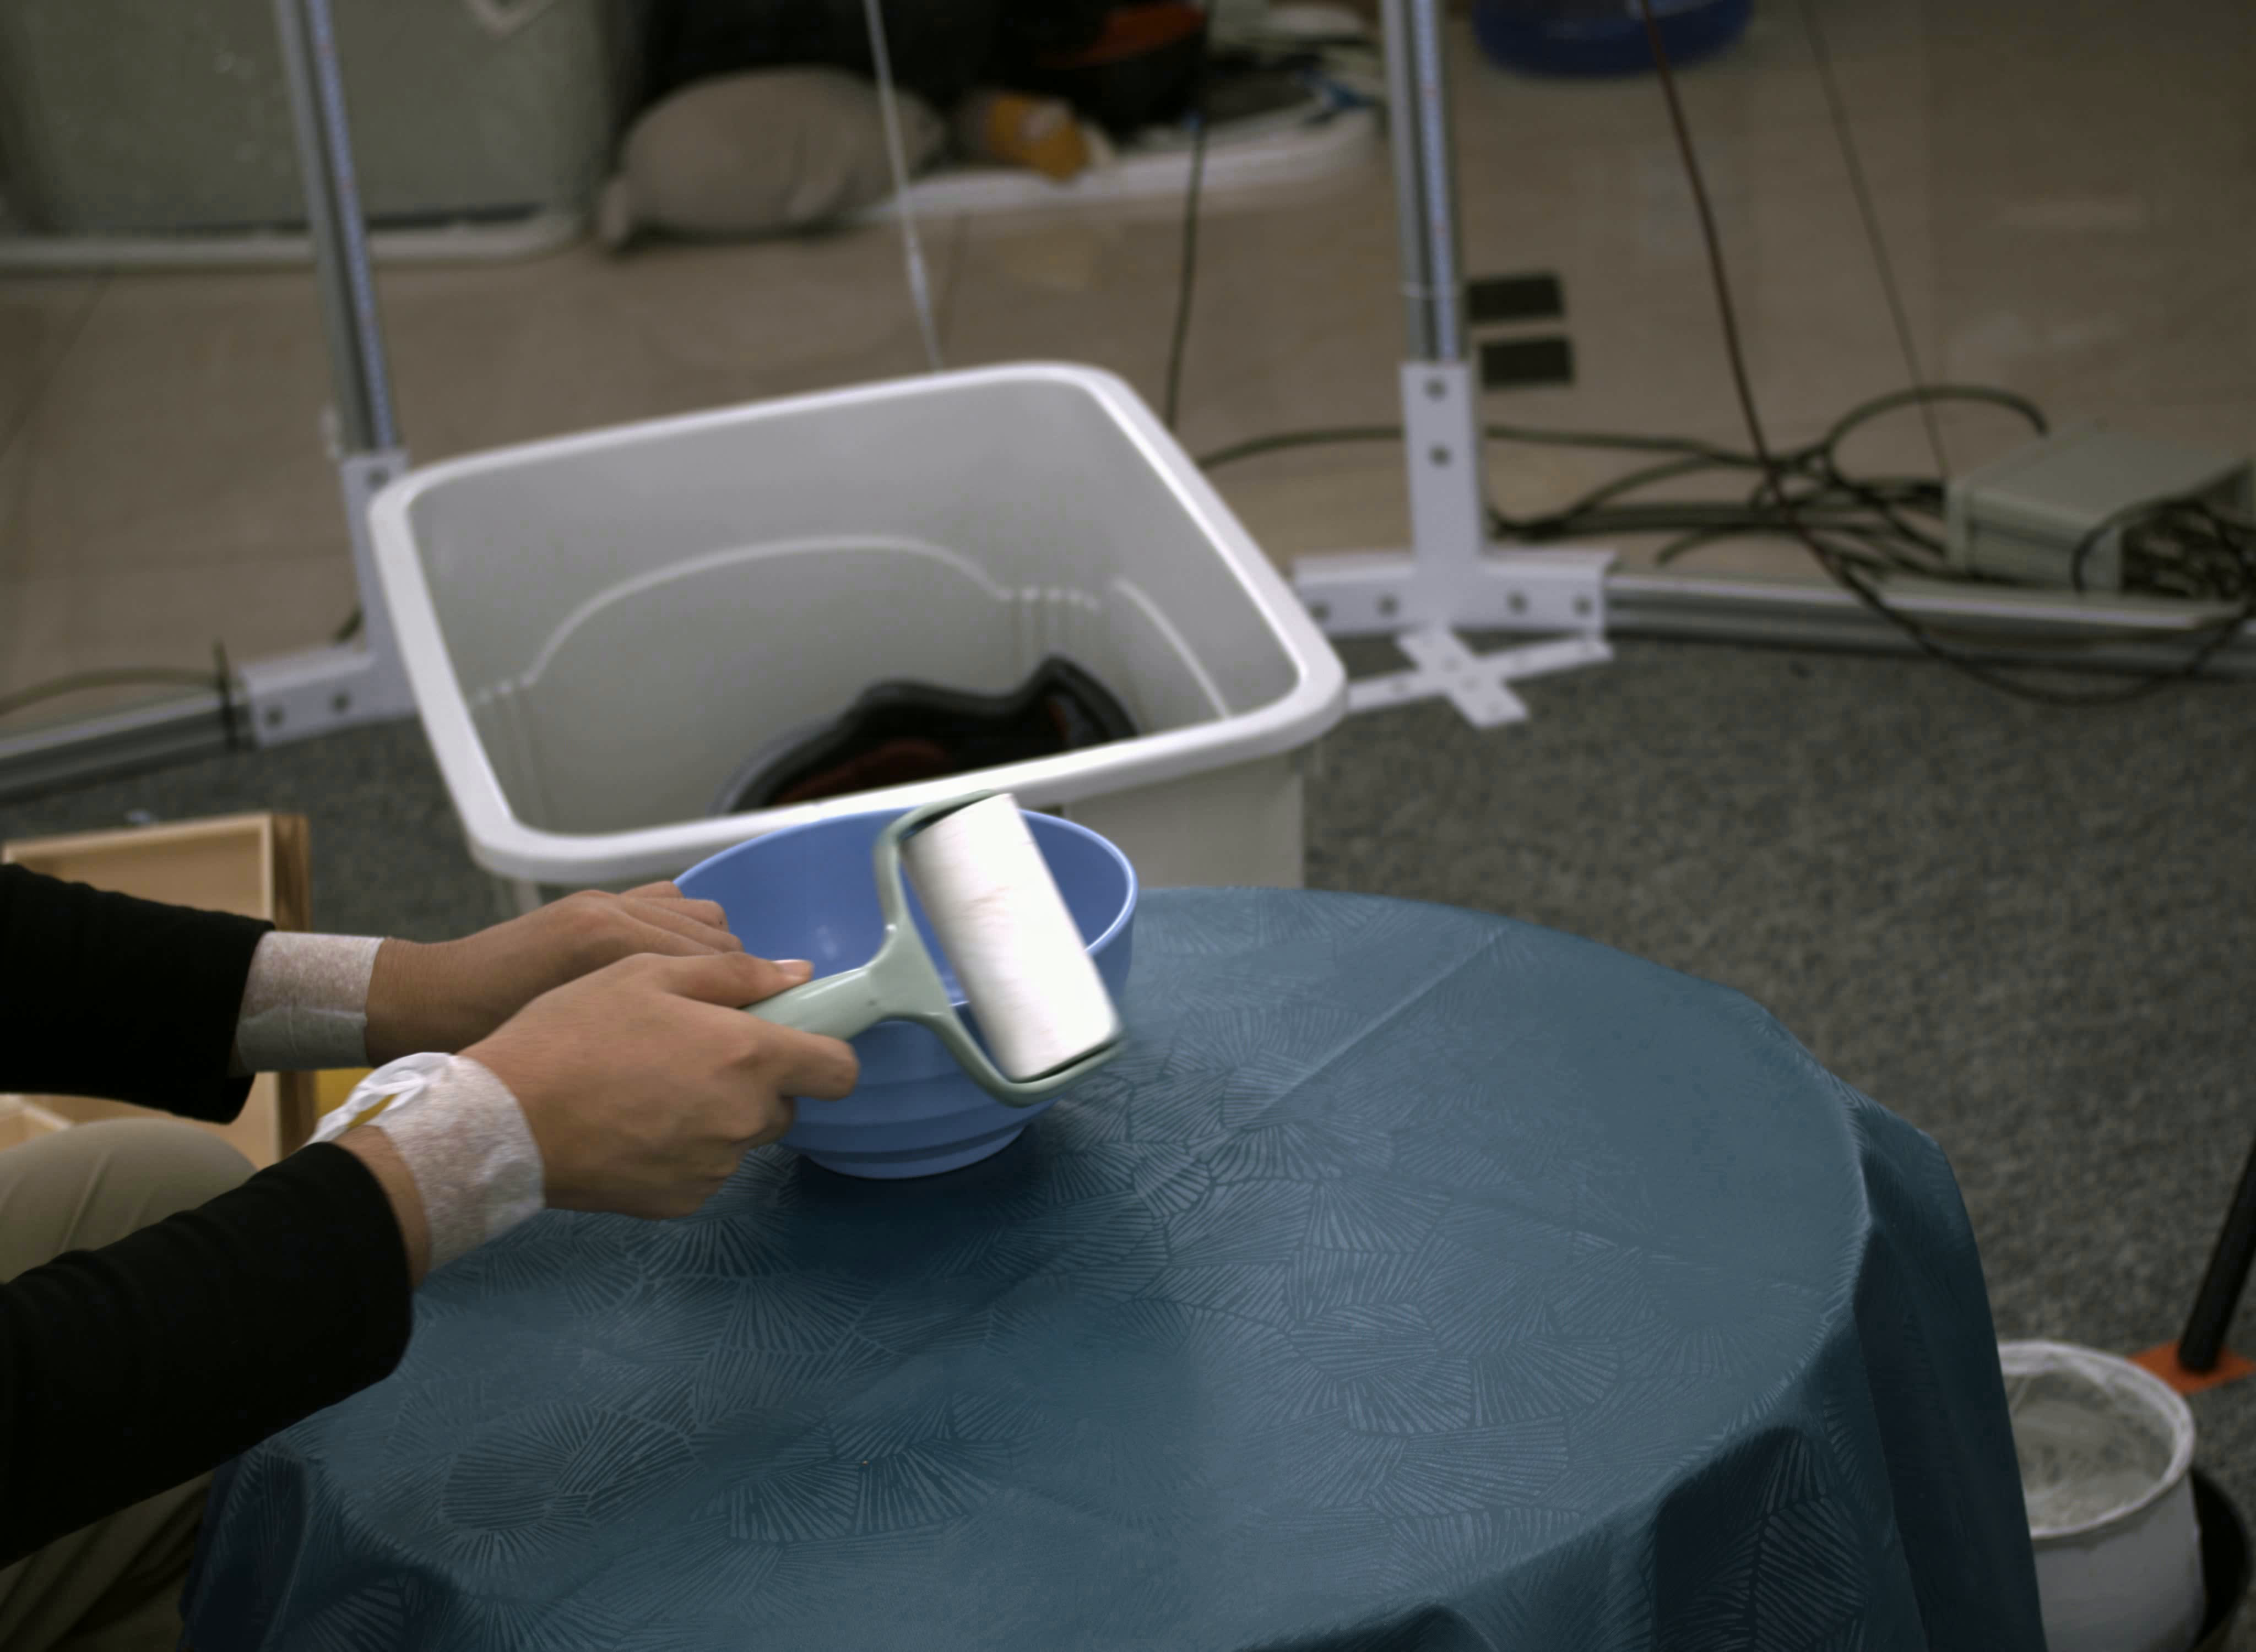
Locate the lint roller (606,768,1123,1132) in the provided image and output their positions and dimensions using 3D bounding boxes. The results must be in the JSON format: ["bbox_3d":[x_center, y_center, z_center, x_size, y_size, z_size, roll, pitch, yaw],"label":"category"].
[{"bbox_3d":[-0.101,0.059,2.038,0.196,0.116,0.049,-23,-4,-33],"label":"lint roller"}]

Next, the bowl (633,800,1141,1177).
[{"bbox_3d":[-0.089,0.073,2.194,0.196,0.097,0.193,-4,25,2],"label":"bowl"}]
